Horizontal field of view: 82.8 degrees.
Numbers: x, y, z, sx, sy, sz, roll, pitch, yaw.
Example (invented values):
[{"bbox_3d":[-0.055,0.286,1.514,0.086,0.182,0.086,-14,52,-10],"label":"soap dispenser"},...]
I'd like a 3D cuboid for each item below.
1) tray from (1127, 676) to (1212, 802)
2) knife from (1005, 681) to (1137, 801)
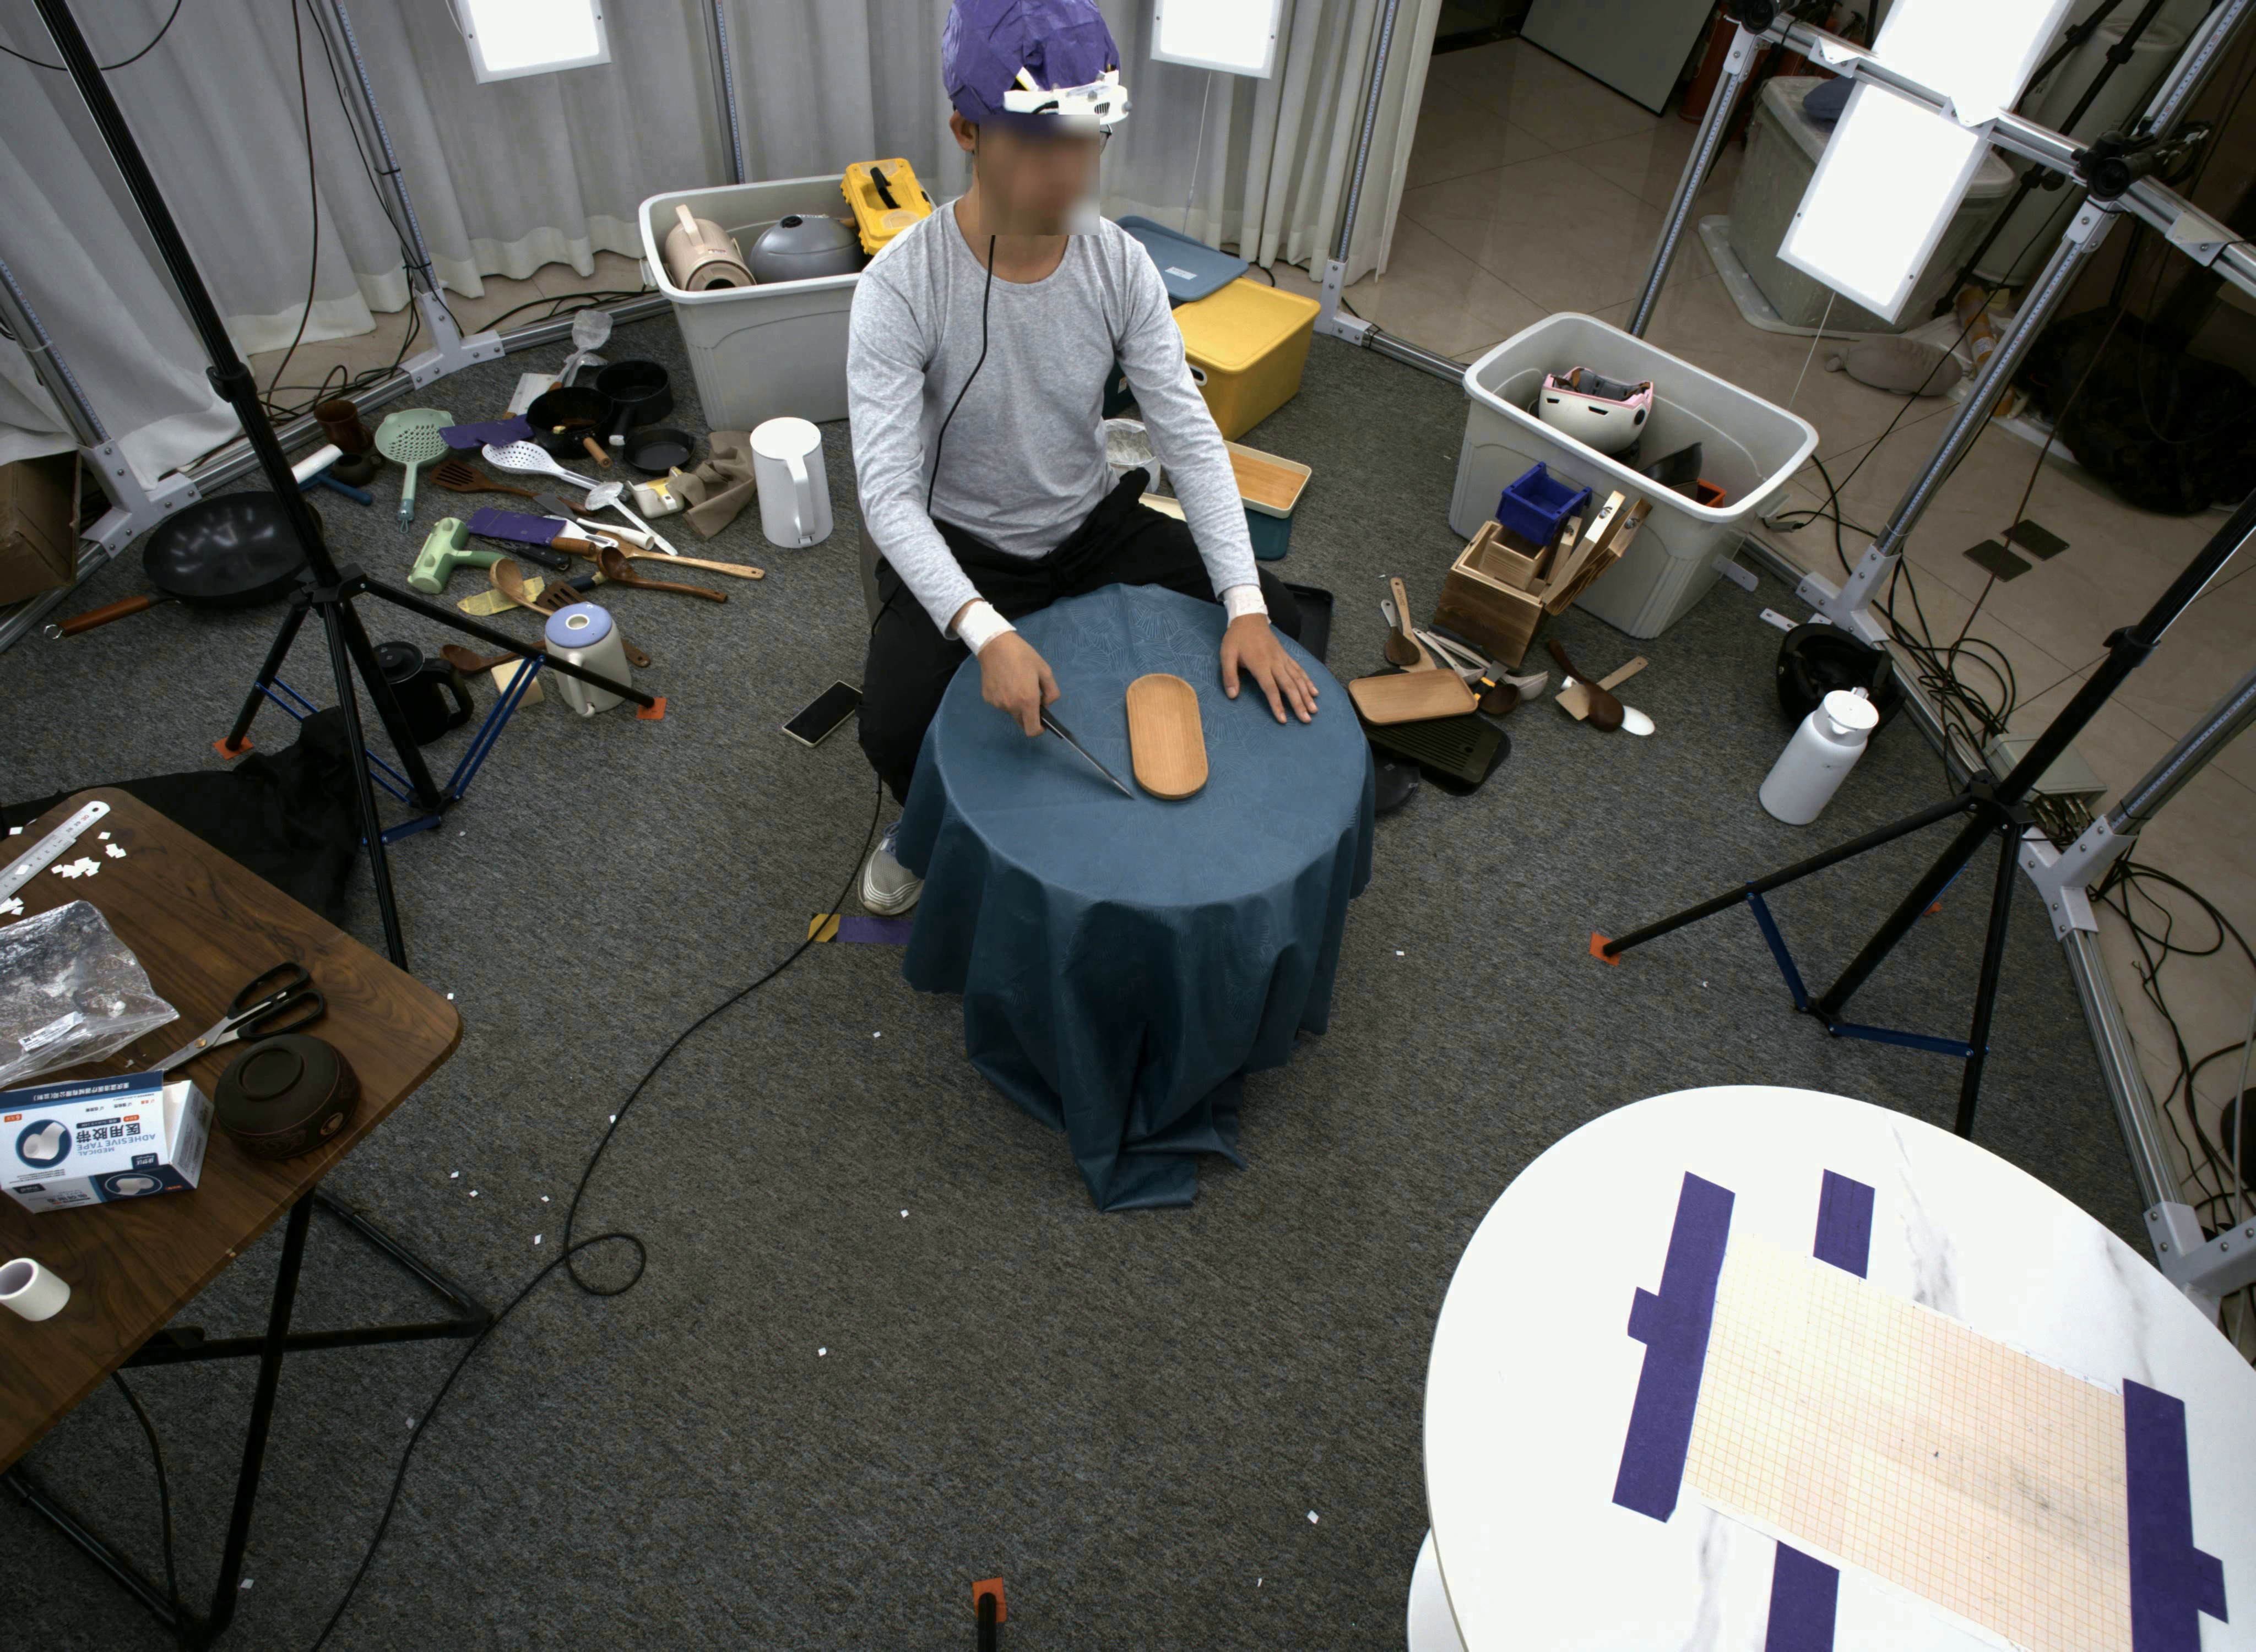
[{"bbox_3d":[0.055,-0.122,1.767,0.101,0.020,0.237,-3,51,-5],"label":"tray"},{"bbox_3d":[-0.077,-0.113,1.714,0.239,0.016,0.024,42,19,8],"label":"knife"}]
